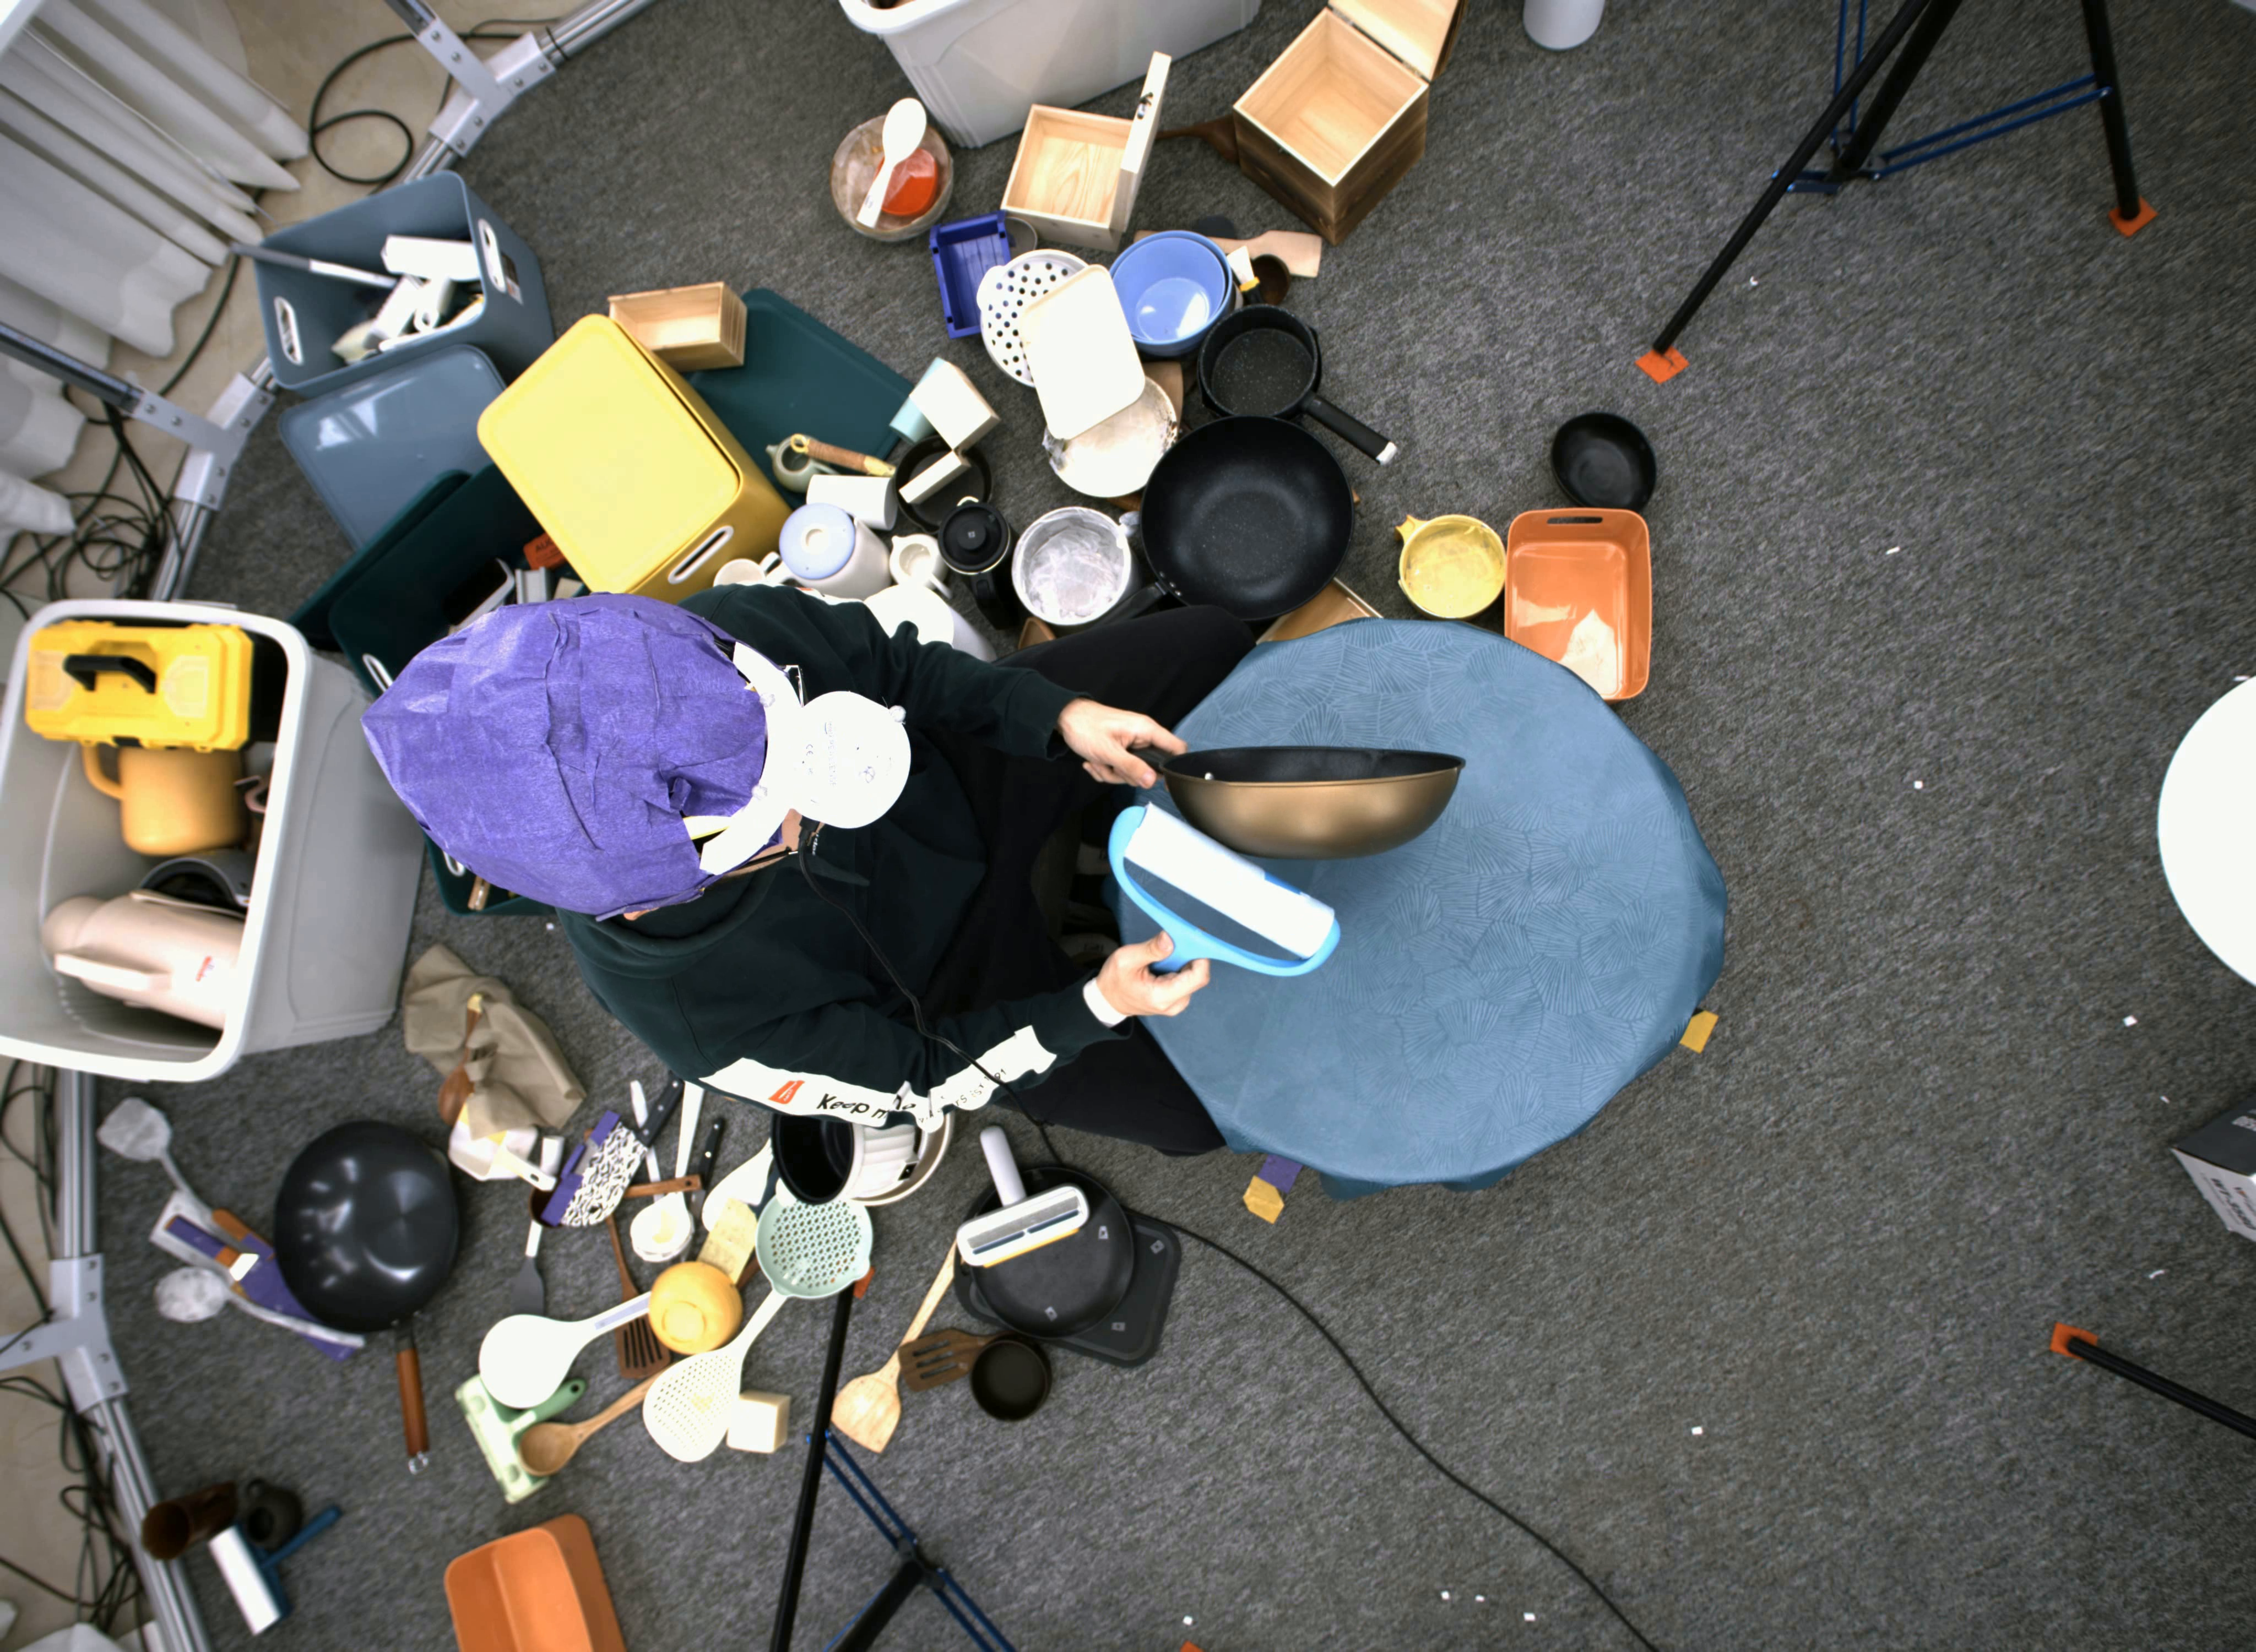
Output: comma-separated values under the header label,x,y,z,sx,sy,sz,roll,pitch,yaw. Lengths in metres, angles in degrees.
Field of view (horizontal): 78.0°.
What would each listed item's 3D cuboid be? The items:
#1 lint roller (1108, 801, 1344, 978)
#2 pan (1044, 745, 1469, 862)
label,x,y,z,sx,sy,sz,roll,pitch,yaw
lint roller,0.064,0.090,1.255,0.229,0.066,0.184,25,125,-8
pan,0.096,-0.027,1.319,0.466,0.284,0.087,5,101,38
